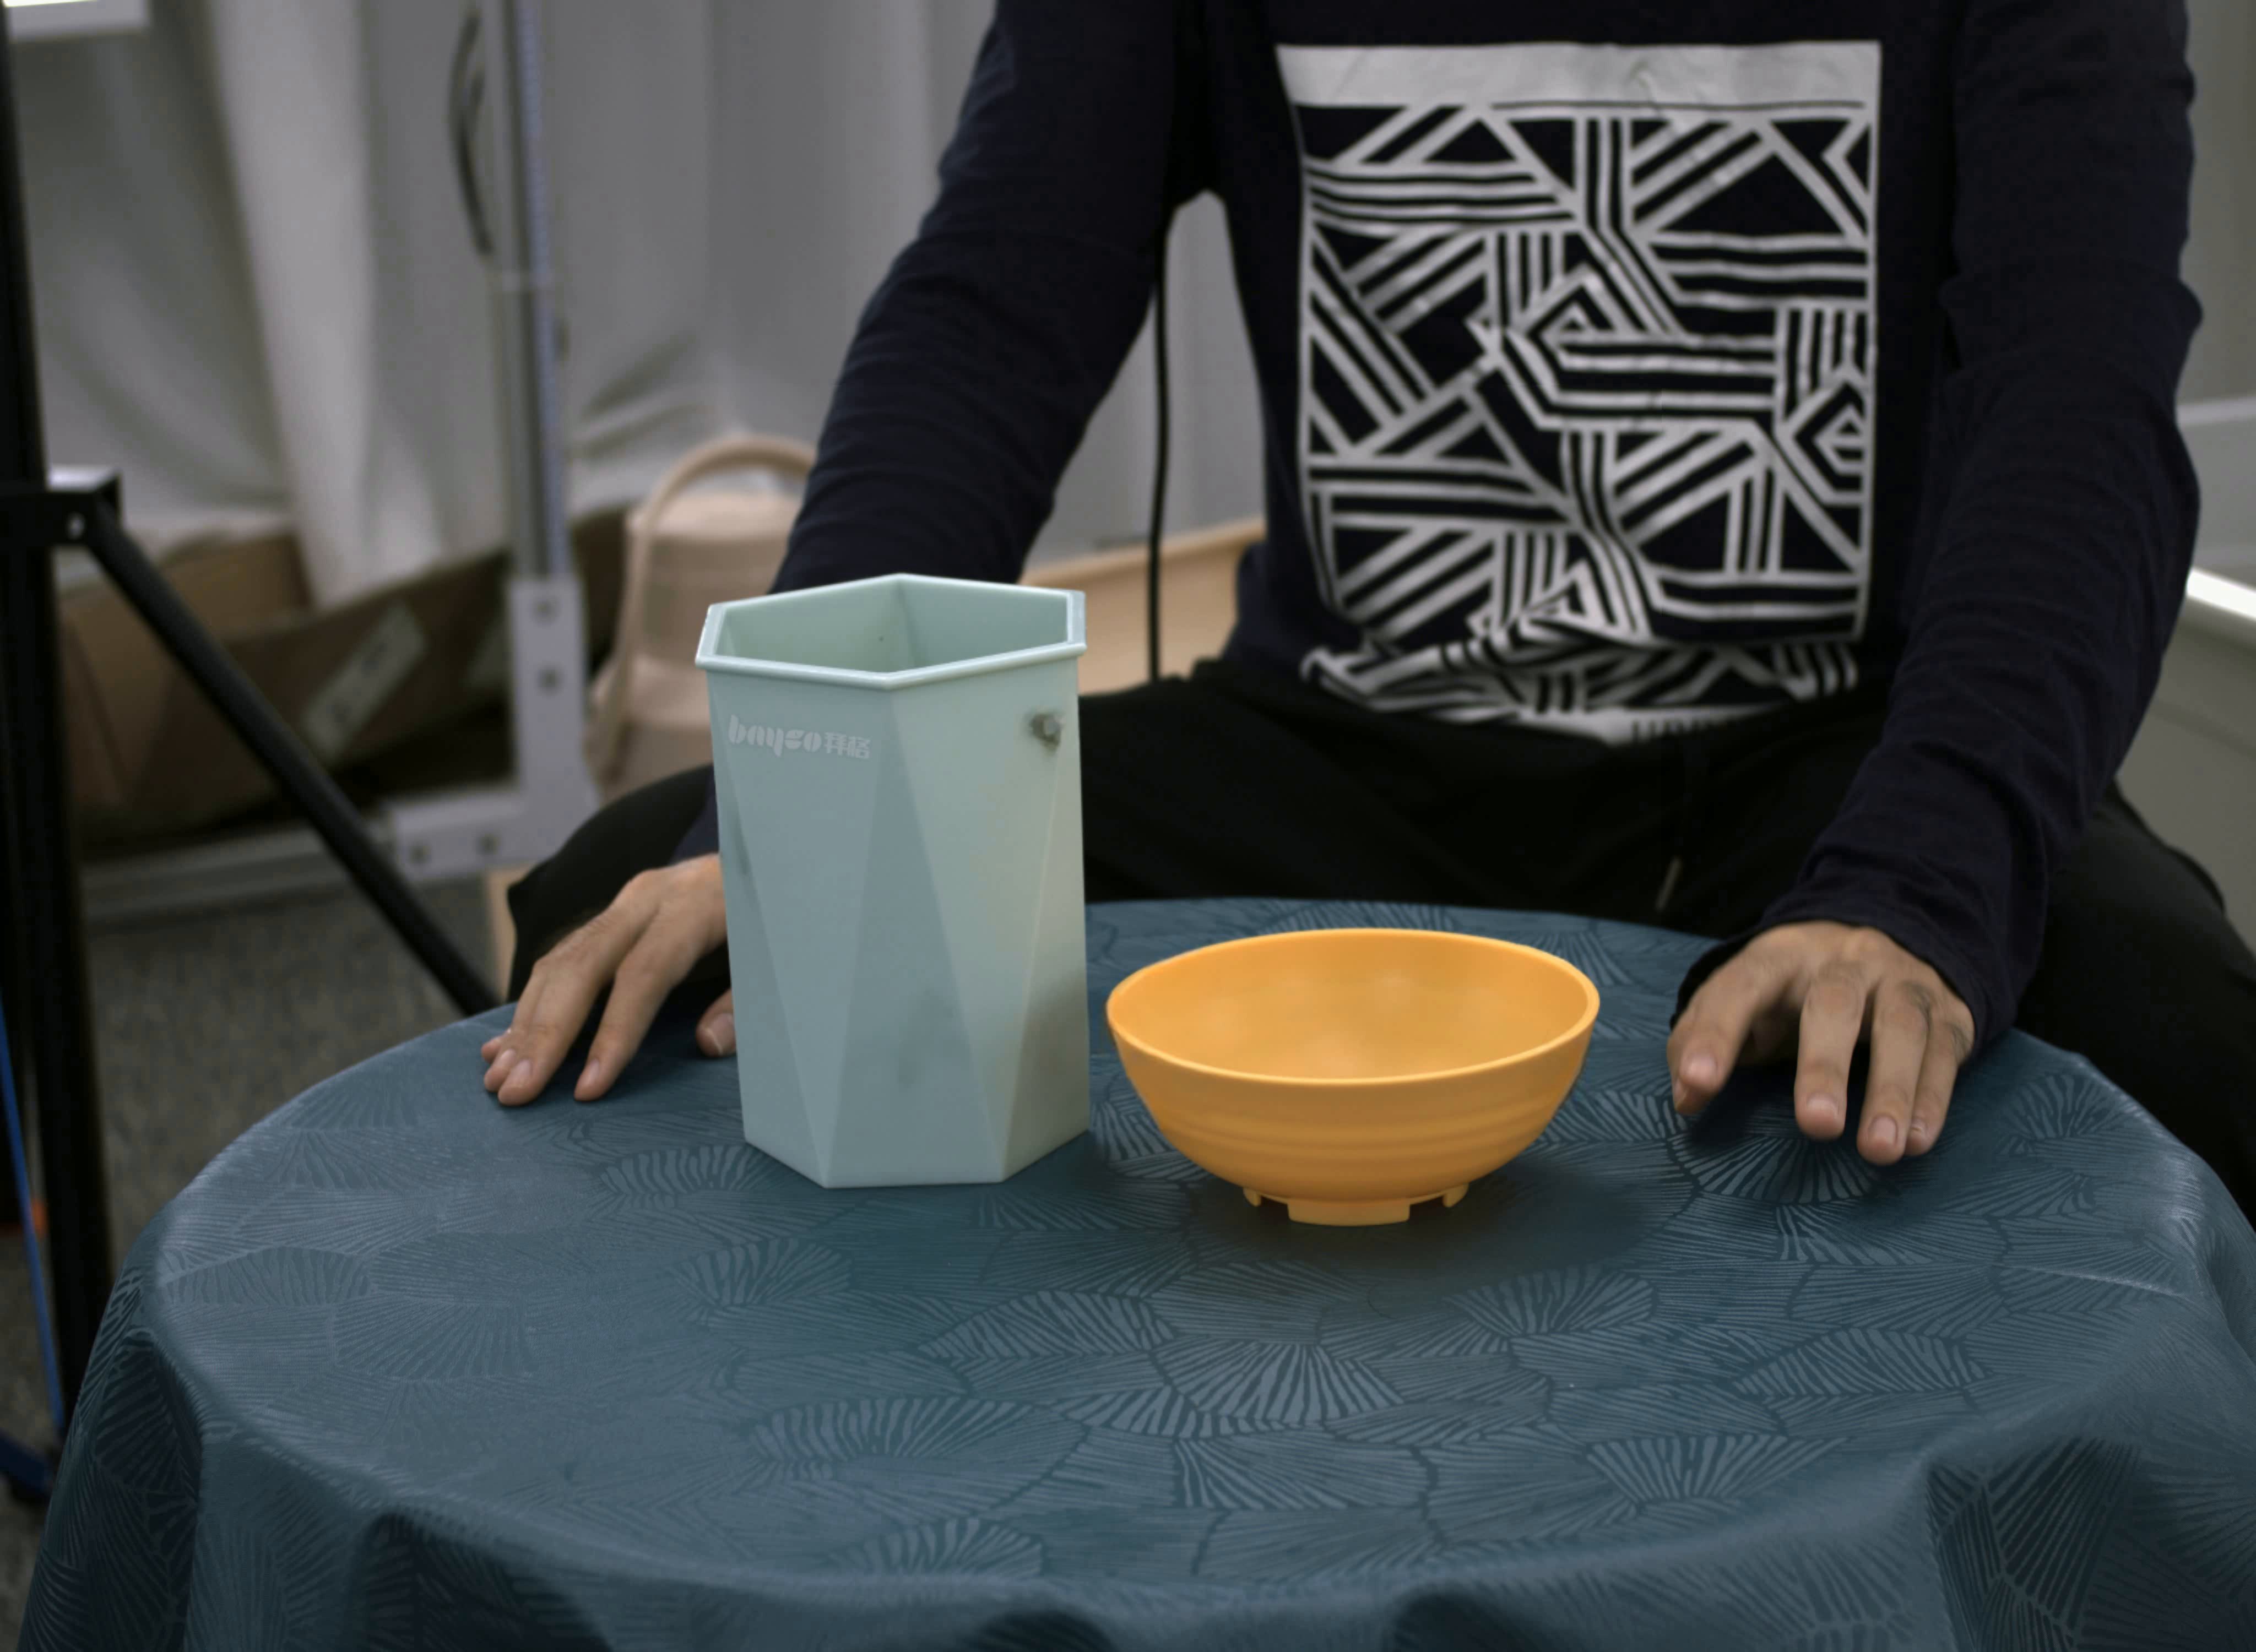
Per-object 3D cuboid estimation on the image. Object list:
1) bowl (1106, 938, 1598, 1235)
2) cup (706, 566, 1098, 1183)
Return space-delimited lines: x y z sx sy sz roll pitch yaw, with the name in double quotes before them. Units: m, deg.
"bowl" 0.065 0.081 1.551 0.144 0.060 0.146 0 15 -1
"cup" -0.066 0.016 1.597 0.133 0.163 0.113 7 16 28
